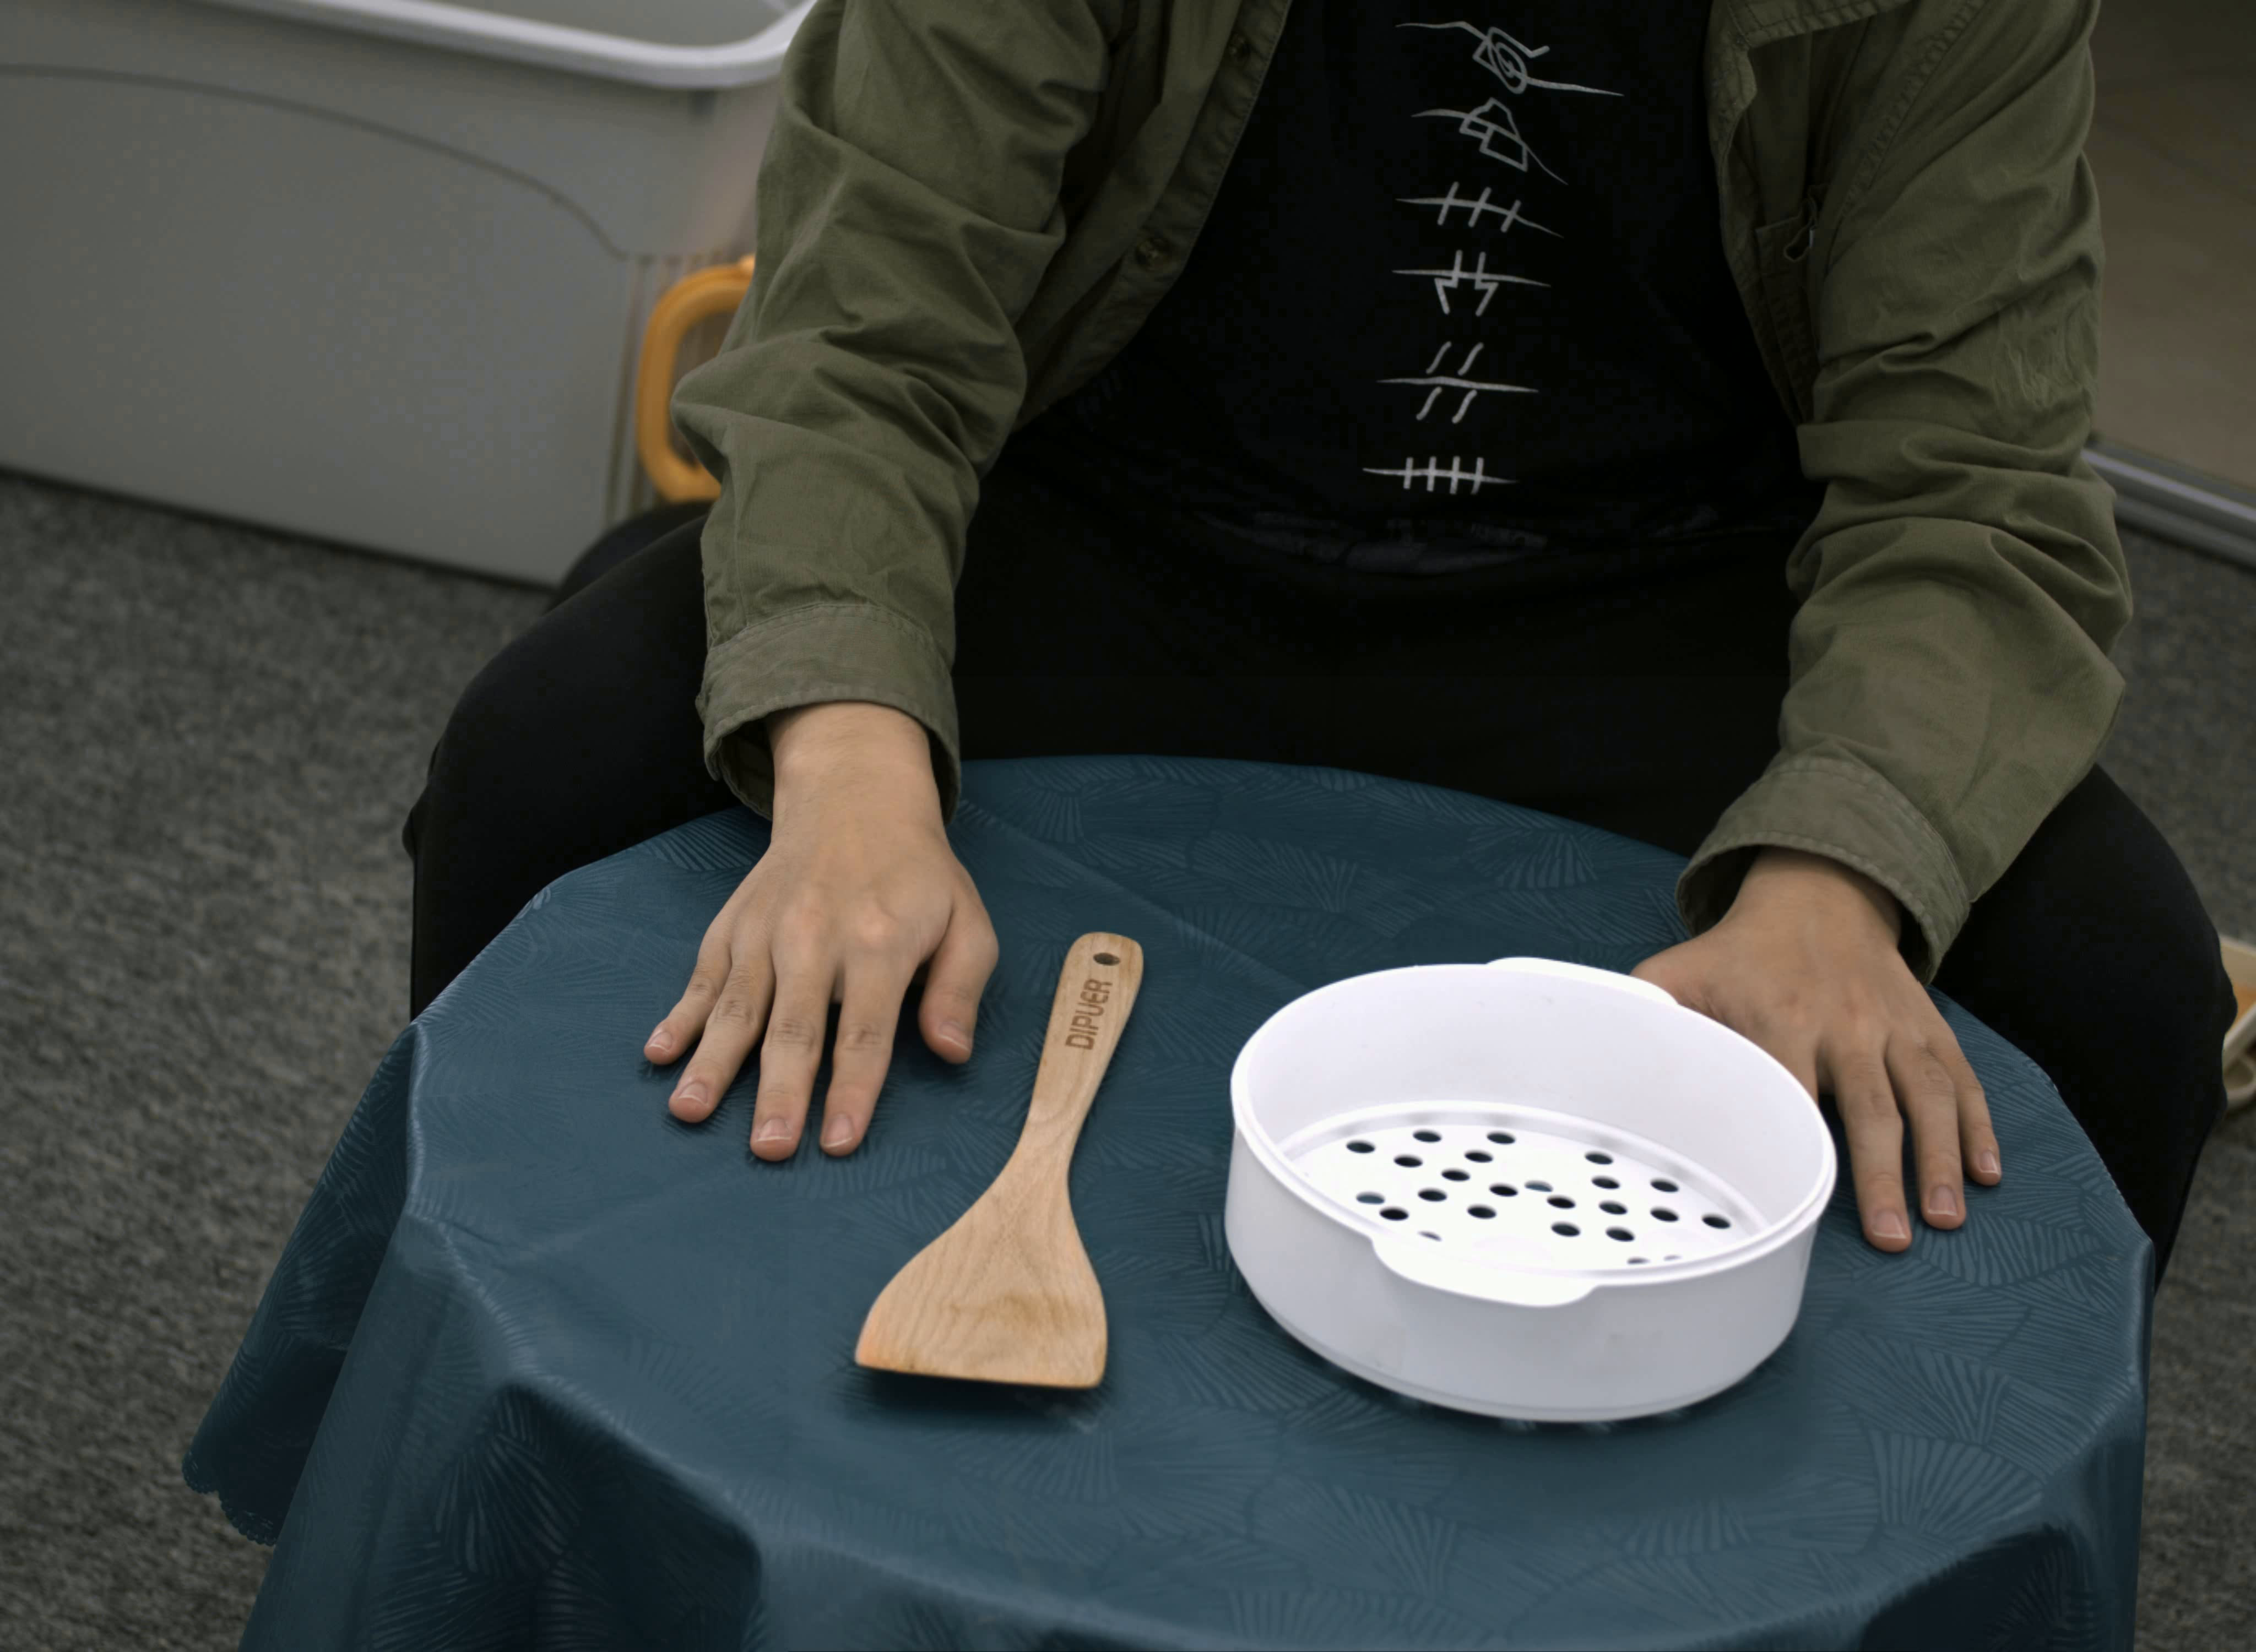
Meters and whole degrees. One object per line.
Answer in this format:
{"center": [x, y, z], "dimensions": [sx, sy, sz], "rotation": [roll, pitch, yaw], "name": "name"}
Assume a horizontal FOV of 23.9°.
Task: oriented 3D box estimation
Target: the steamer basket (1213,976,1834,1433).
{"center": [0.128, 0.125, 1.753], "dimensions": [0.202, 0.069, 0.231], "rotation": [12, 26, 10], "name": "steamer basket"}

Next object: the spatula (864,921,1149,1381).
{"center": [-0.025, 0.106, 1.810], "dimensions": [0.080, 0.016, 0.329], "rotation": [9, 27, 4], "name": "spatula"}
